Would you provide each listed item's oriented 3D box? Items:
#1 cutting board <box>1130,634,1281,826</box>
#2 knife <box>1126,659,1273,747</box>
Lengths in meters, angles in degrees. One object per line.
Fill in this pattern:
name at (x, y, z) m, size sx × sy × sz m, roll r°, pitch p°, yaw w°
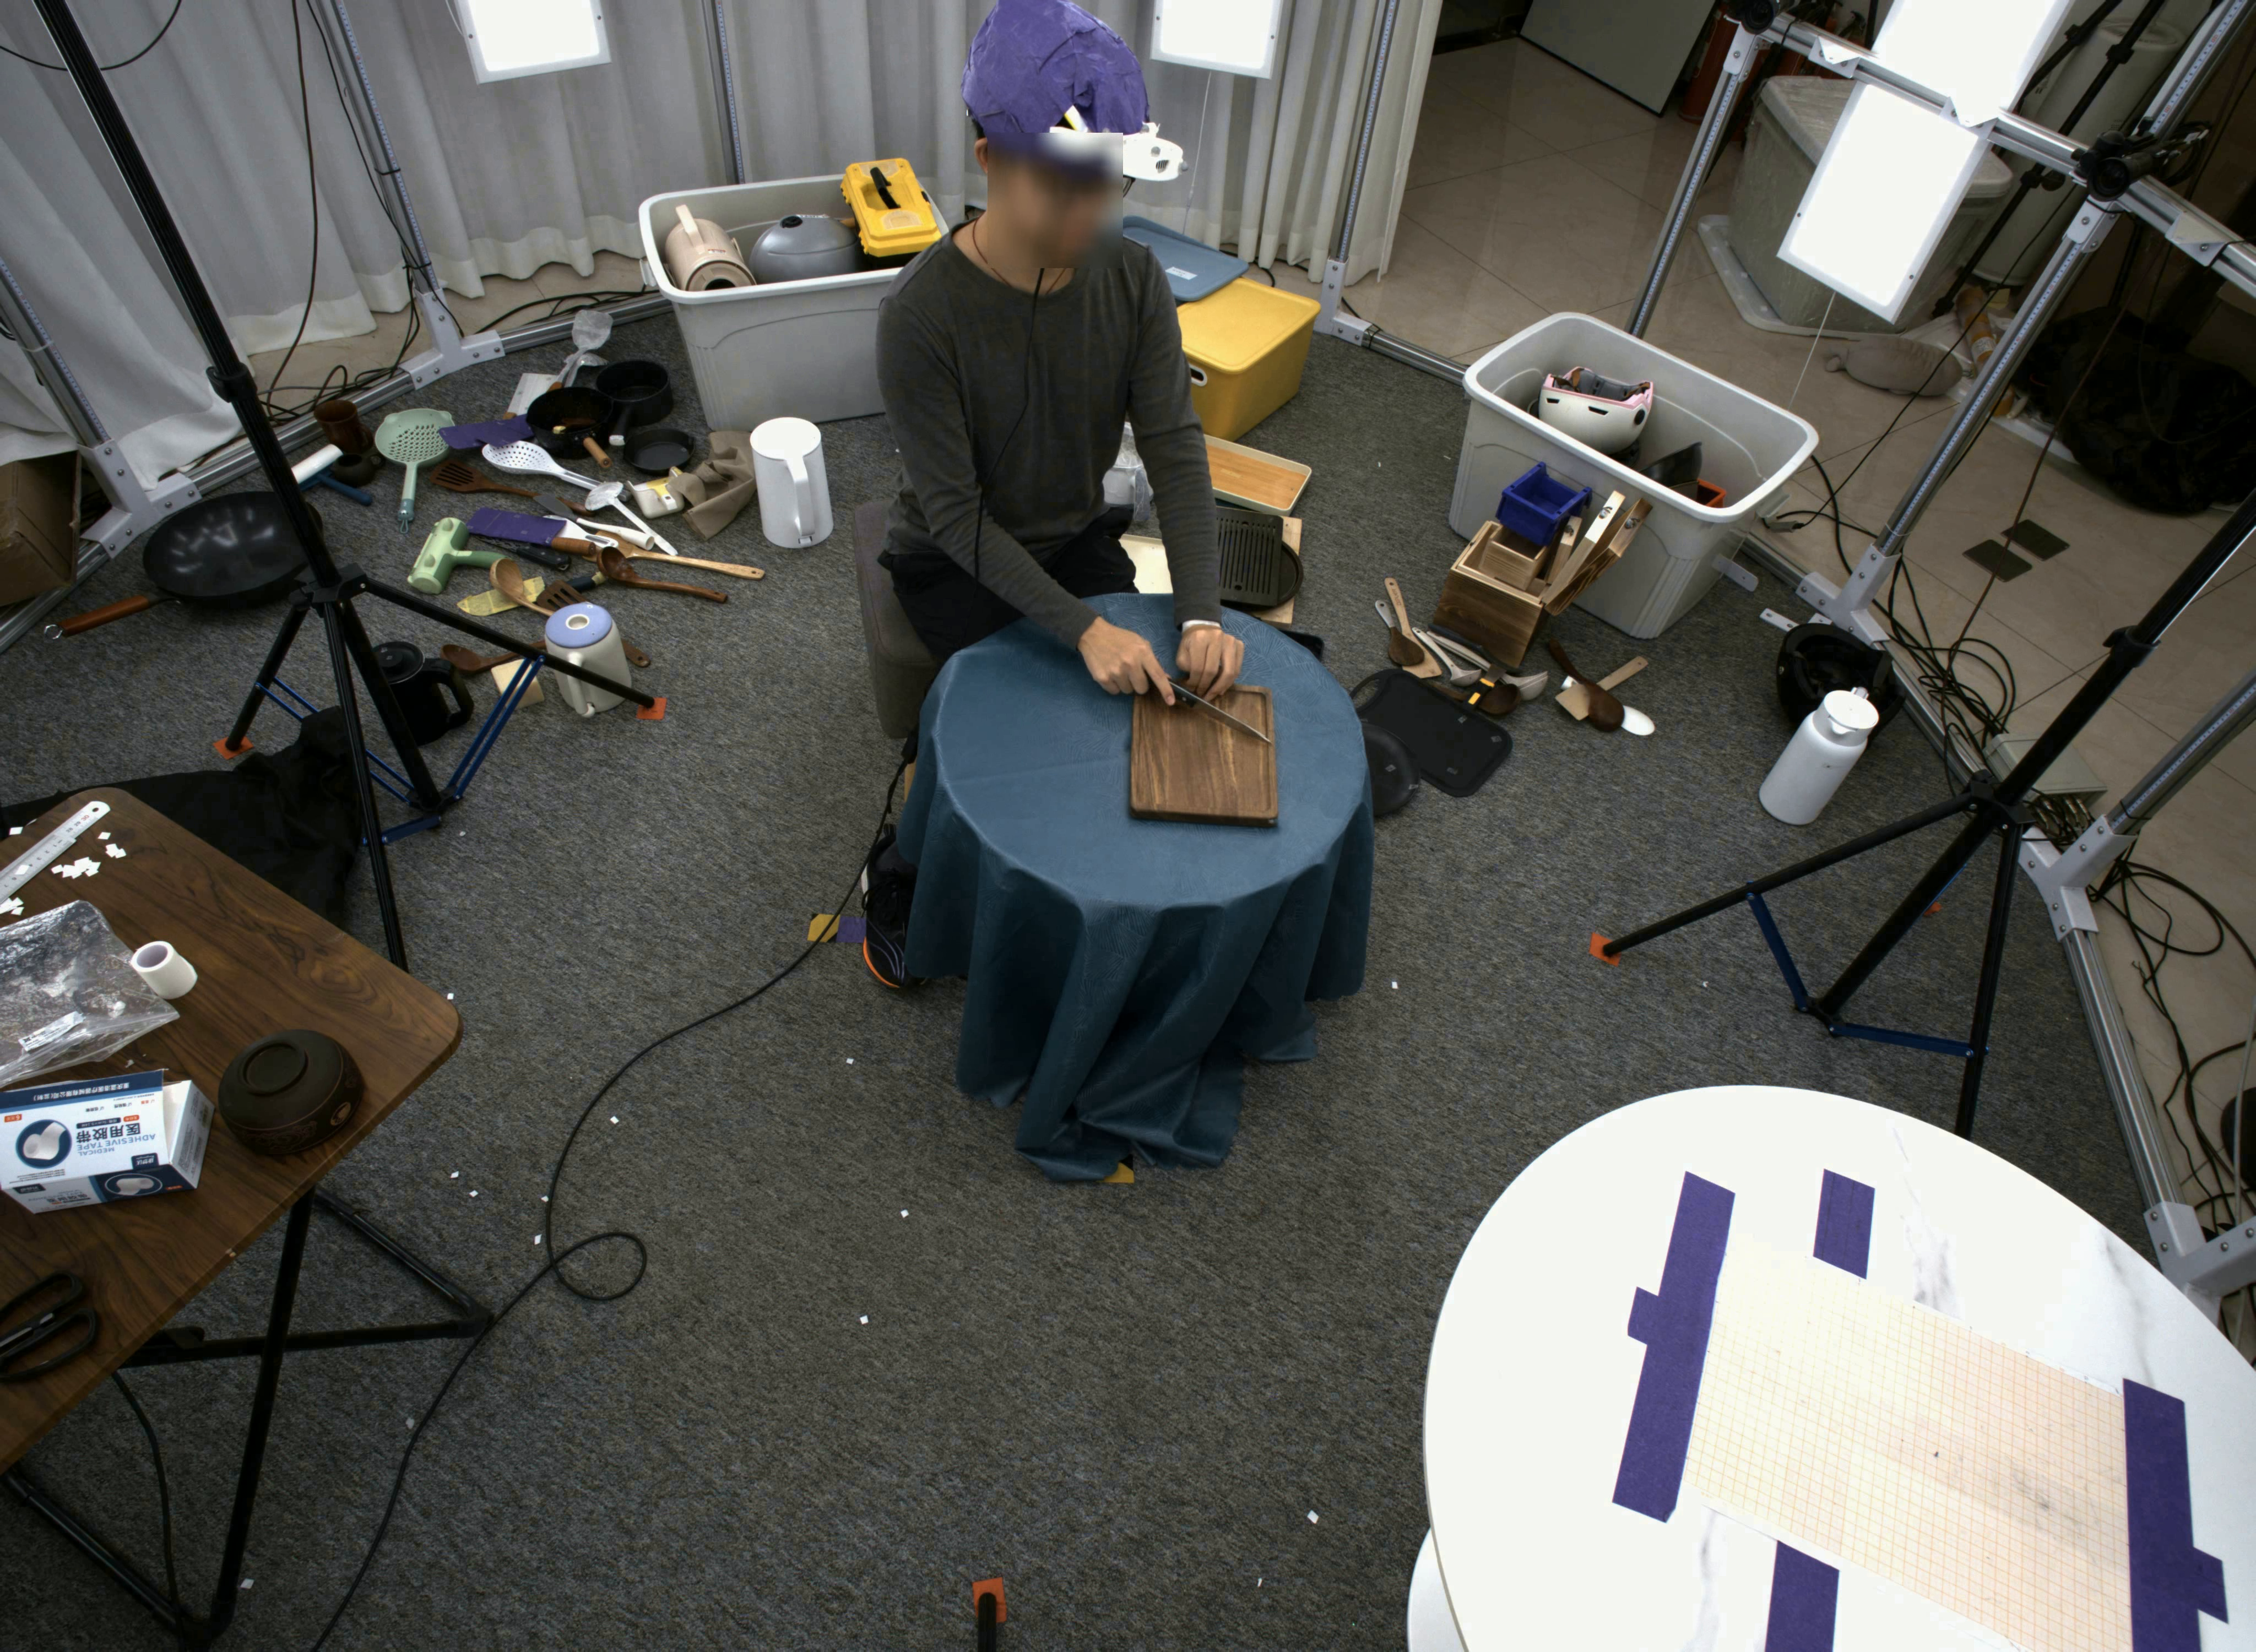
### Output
cutting board at (0.105, -0.143, 1.786) m, size 0.201 × 0.022 × 0.361 m, roll 3°, pitch 49°, yaw -2°
knife at (0.099, -0.171, 1.777) m, size 0.240 × 0.024 × 0.016 m, roll 32°, pitch 56°, yaw 13°
